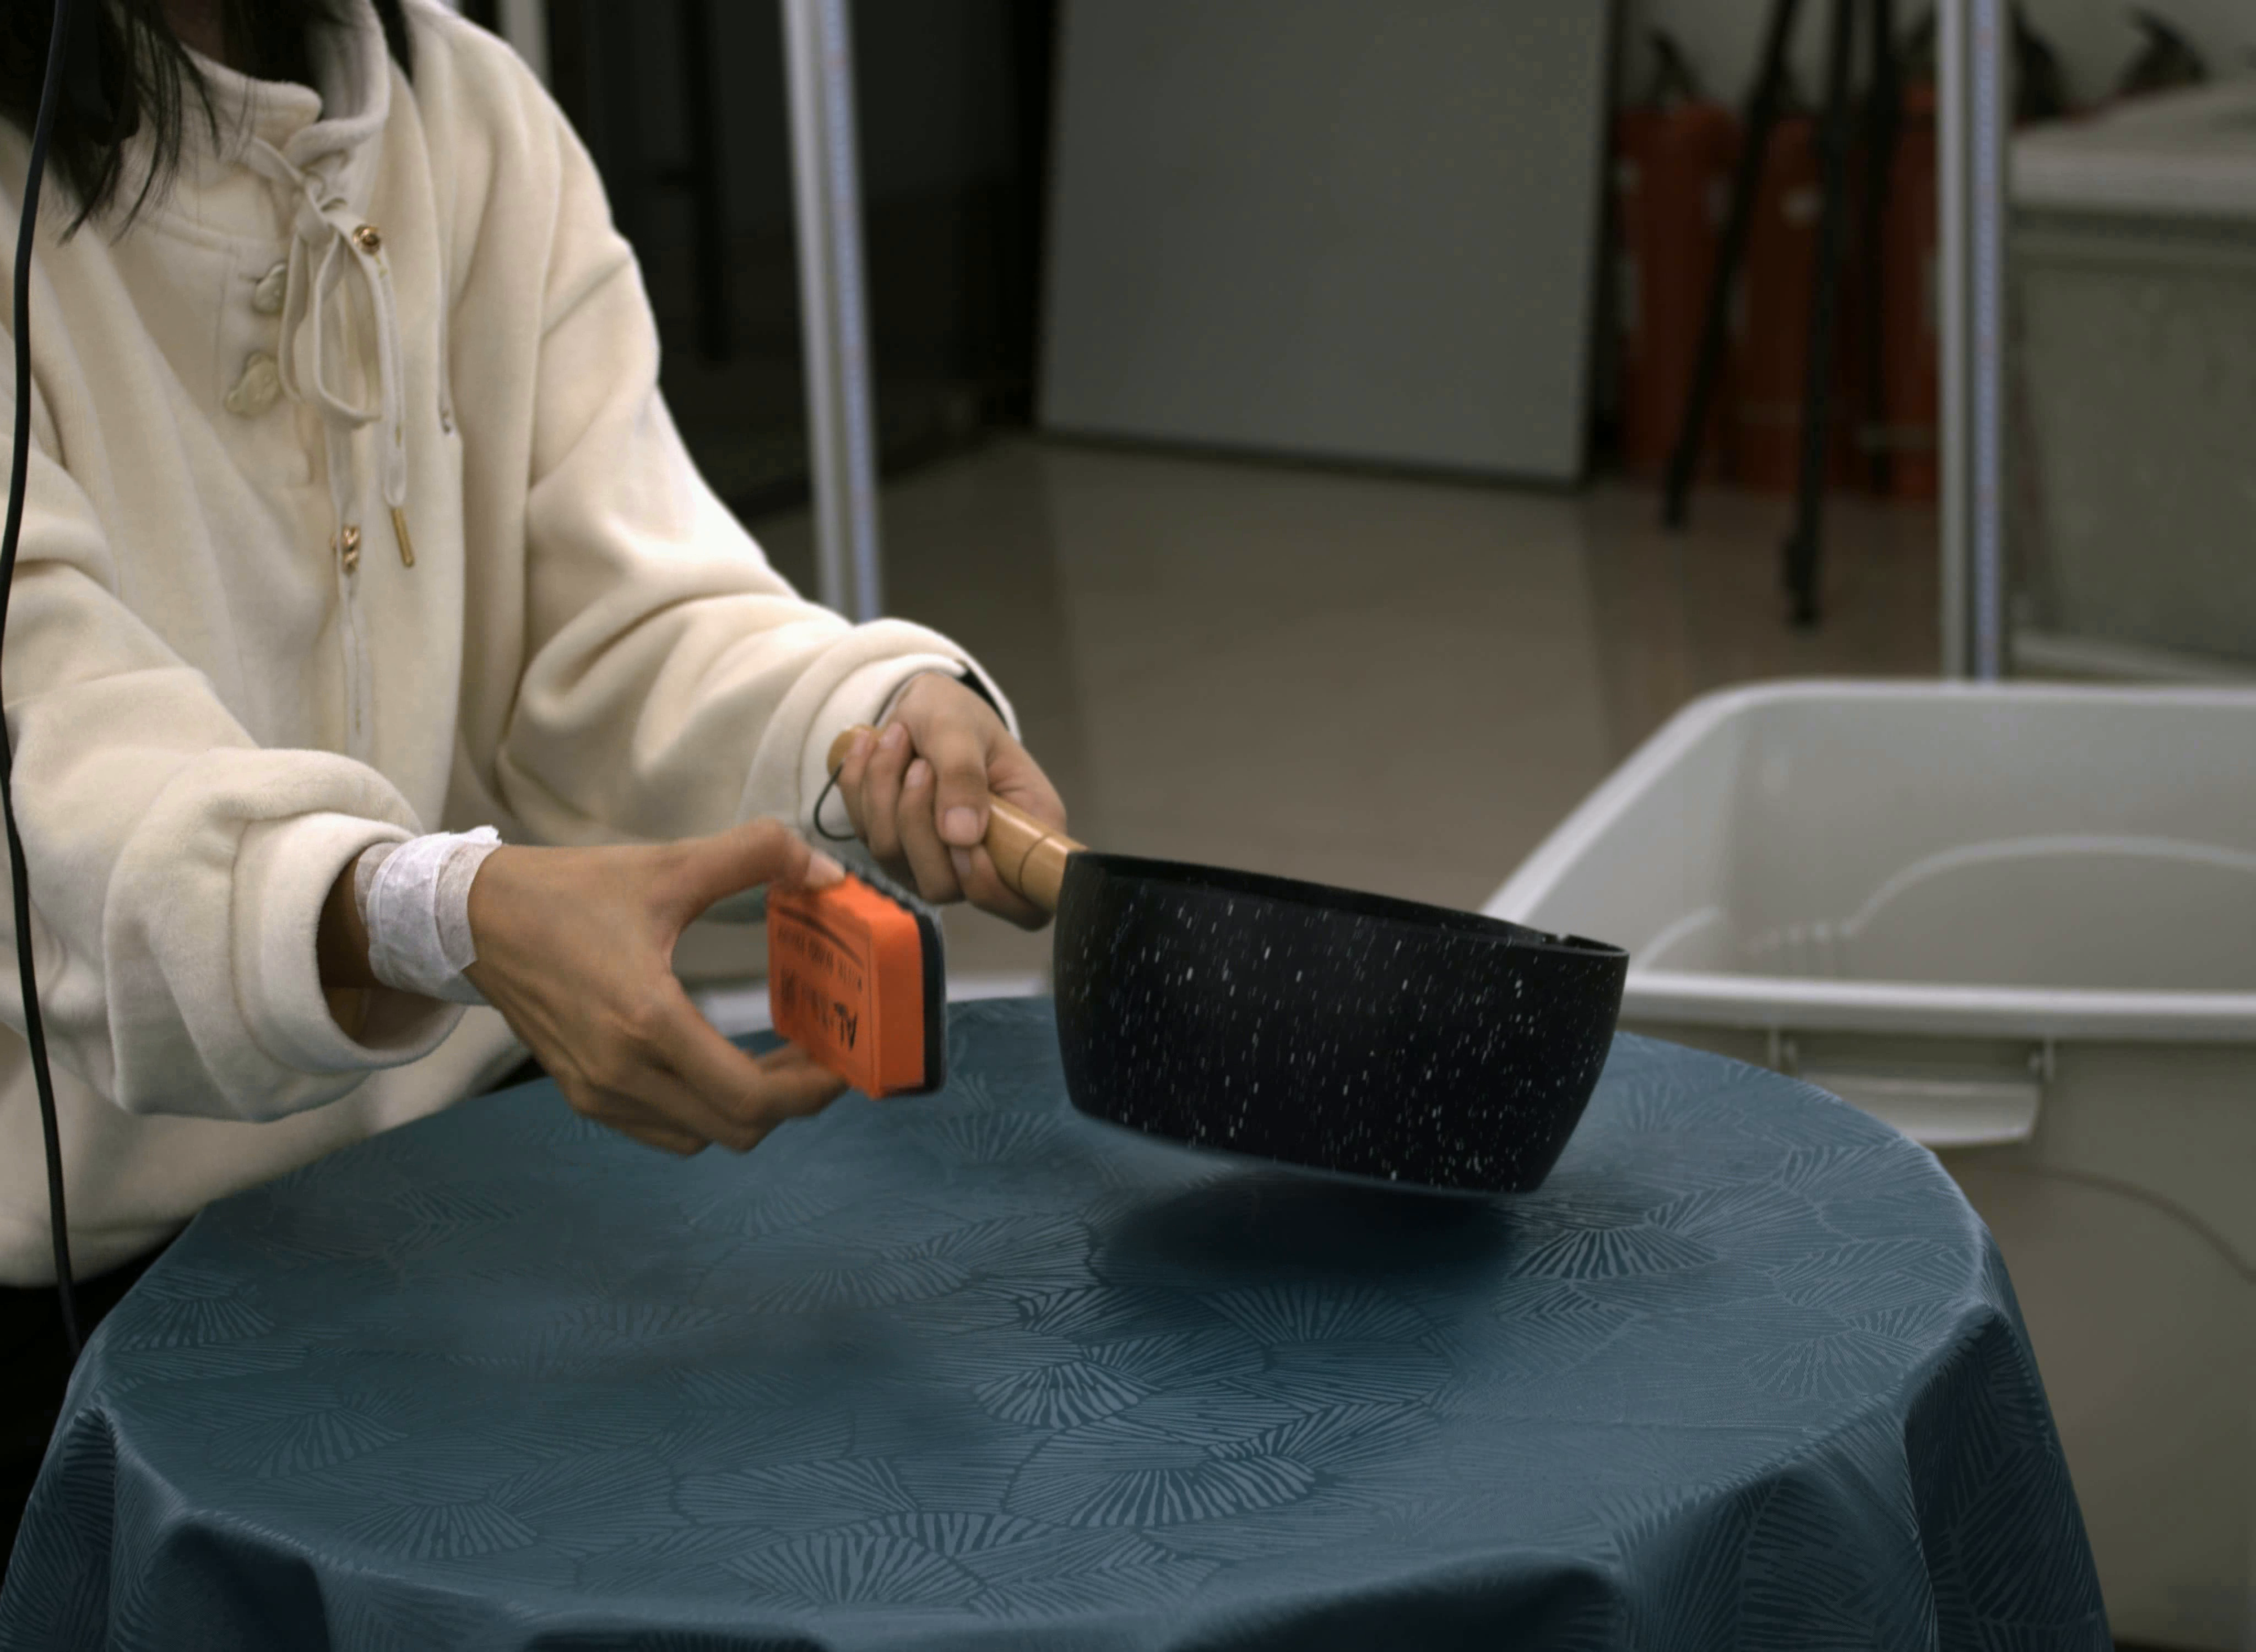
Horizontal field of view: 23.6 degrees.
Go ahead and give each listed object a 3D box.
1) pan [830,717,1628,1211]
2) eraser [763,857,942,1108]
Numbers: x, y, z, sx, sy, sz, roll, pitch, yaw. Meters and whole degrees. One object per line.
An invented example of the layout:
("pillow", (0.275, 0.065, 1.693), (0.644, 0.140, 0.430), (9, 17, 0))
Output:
("pan", (0.009, 0.042, 1.771), (0.203, 0.109, 0.346), (6, 5, -45))
("eraser", (-0.085, 0.047, 1.652), (0.022, 0.059, 0.109), (-5, 12, -21))
